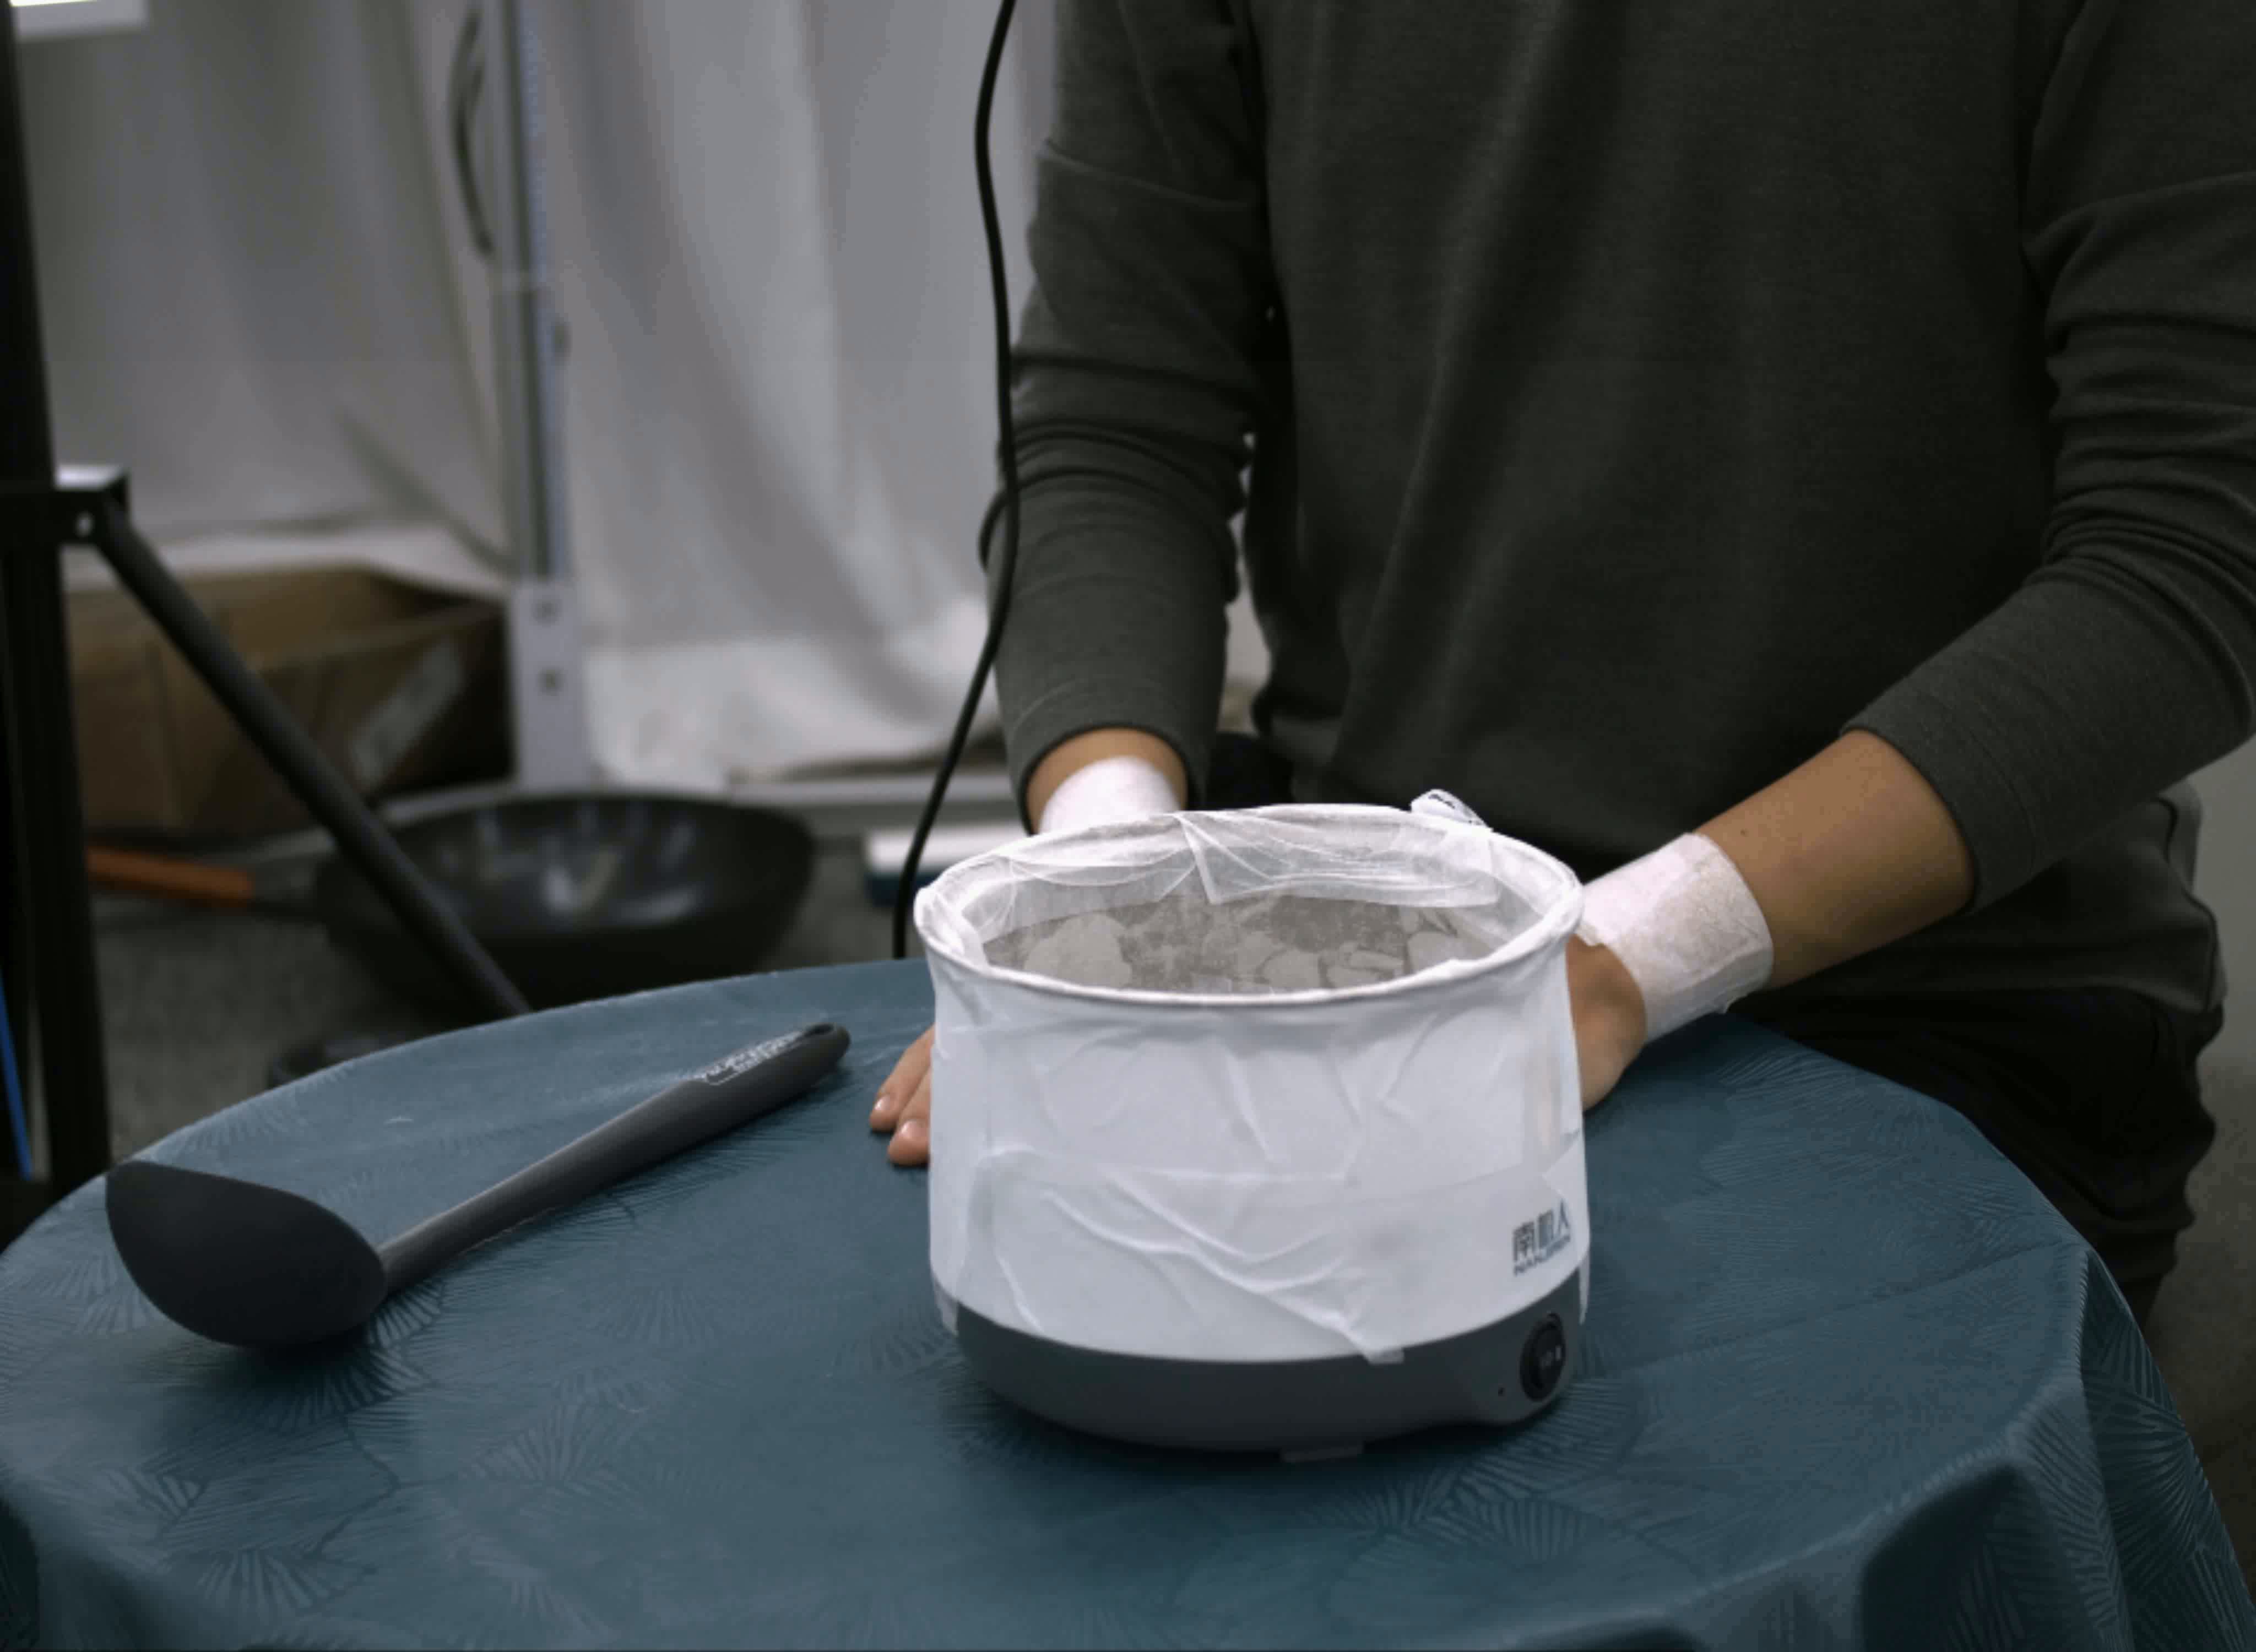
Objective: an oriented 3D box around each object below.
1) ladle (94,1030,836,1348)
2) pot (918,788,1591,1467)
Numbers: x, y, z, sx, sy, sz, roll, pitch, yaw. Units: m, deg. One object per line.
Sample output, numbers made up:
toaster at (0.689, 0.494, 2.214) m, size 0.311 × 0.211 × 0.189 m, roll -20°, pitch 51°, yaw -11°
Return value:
ladle at (-0.176, 0.085, 1.555) m, size 0.088 × 0.064 × 0.308 m, roll 13°, pitch 21°, yaw 30°
pot at (0.049, 0.073, 1.427) m, size 0.182 × 0.136 × 0.229 m, roll 8°, pitch 19°, yaw 32°
